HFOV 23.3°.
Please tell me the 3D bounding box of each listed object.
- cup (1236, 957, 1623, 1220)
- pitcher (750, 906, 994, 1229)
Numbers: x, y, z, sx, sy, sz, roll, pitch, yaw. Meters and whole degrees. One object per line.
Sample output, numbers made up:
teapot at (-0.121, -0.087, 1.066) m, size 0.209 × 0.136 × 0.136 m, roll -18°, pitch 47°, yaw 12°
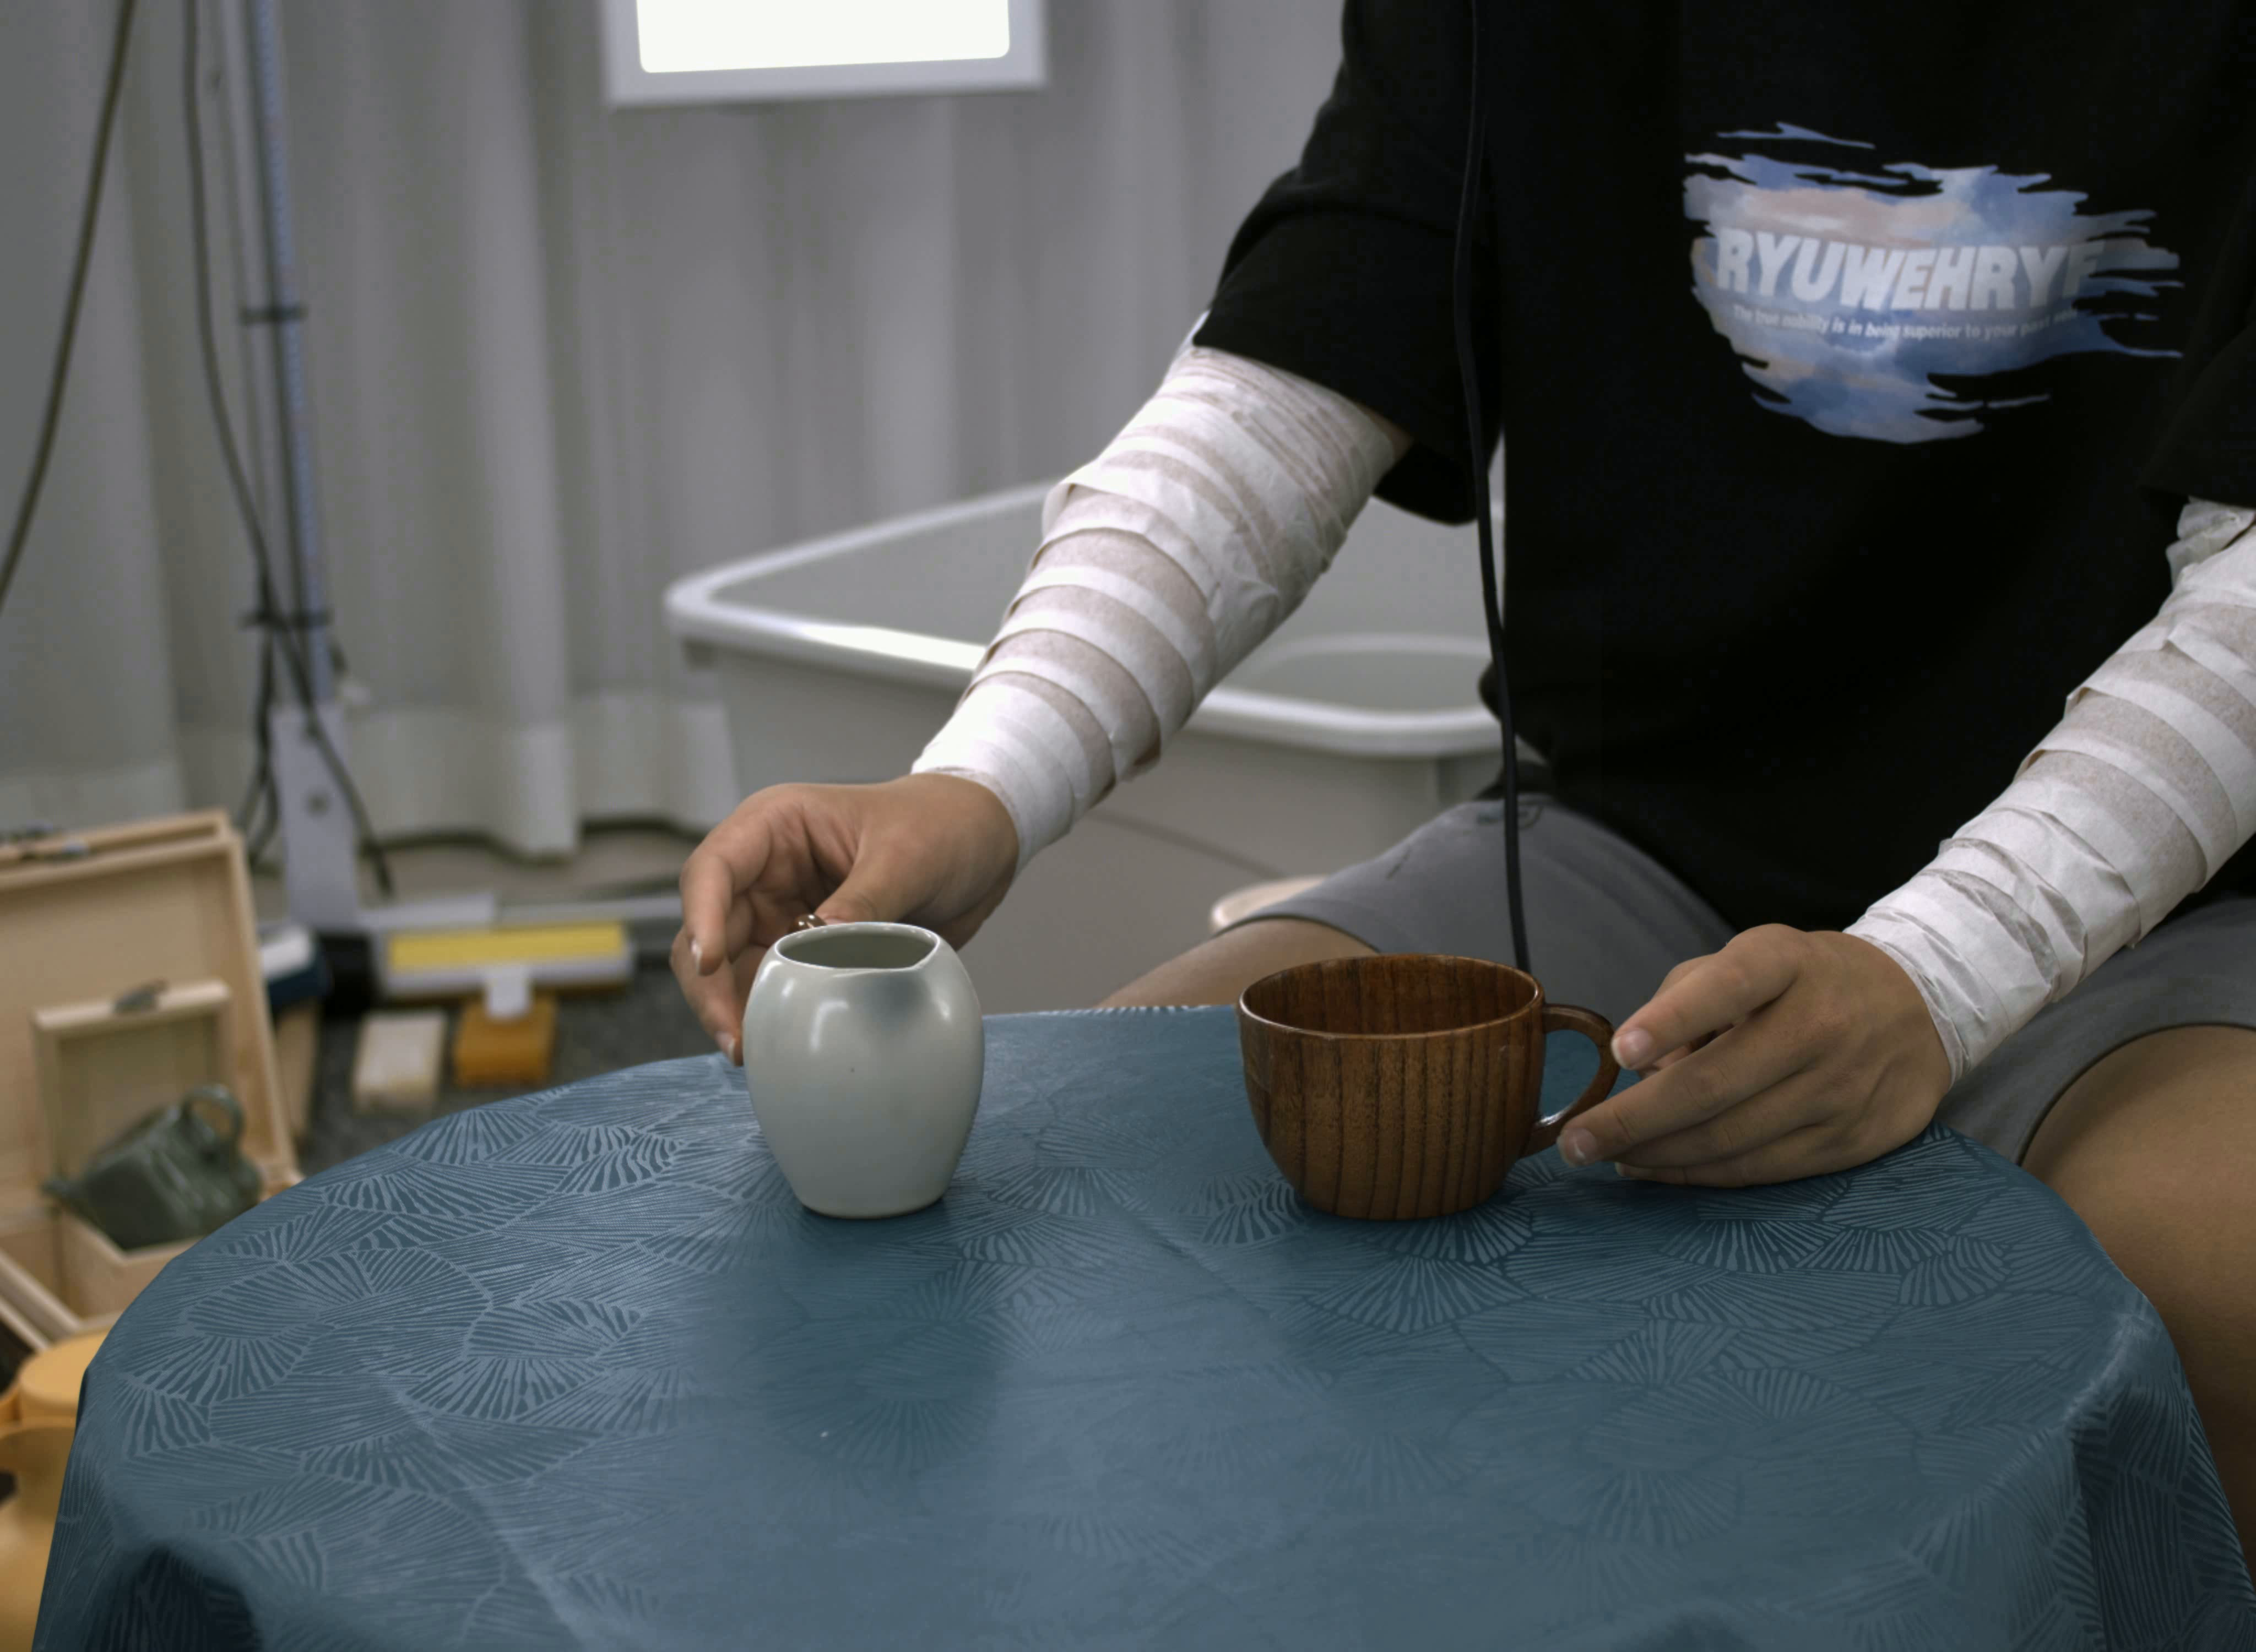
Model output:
cup at (0.093, 0.083, 1.690) m, size 0.119 × 0.067 × 0.096 m, roll 1°, pitch 11°, yaw 8°
pitcher at (-0.082, 0.074, 1.707) m, size 0.075 × 0.087 × 0.120 m, roll -1°, pitch 17°, yaw -16°
